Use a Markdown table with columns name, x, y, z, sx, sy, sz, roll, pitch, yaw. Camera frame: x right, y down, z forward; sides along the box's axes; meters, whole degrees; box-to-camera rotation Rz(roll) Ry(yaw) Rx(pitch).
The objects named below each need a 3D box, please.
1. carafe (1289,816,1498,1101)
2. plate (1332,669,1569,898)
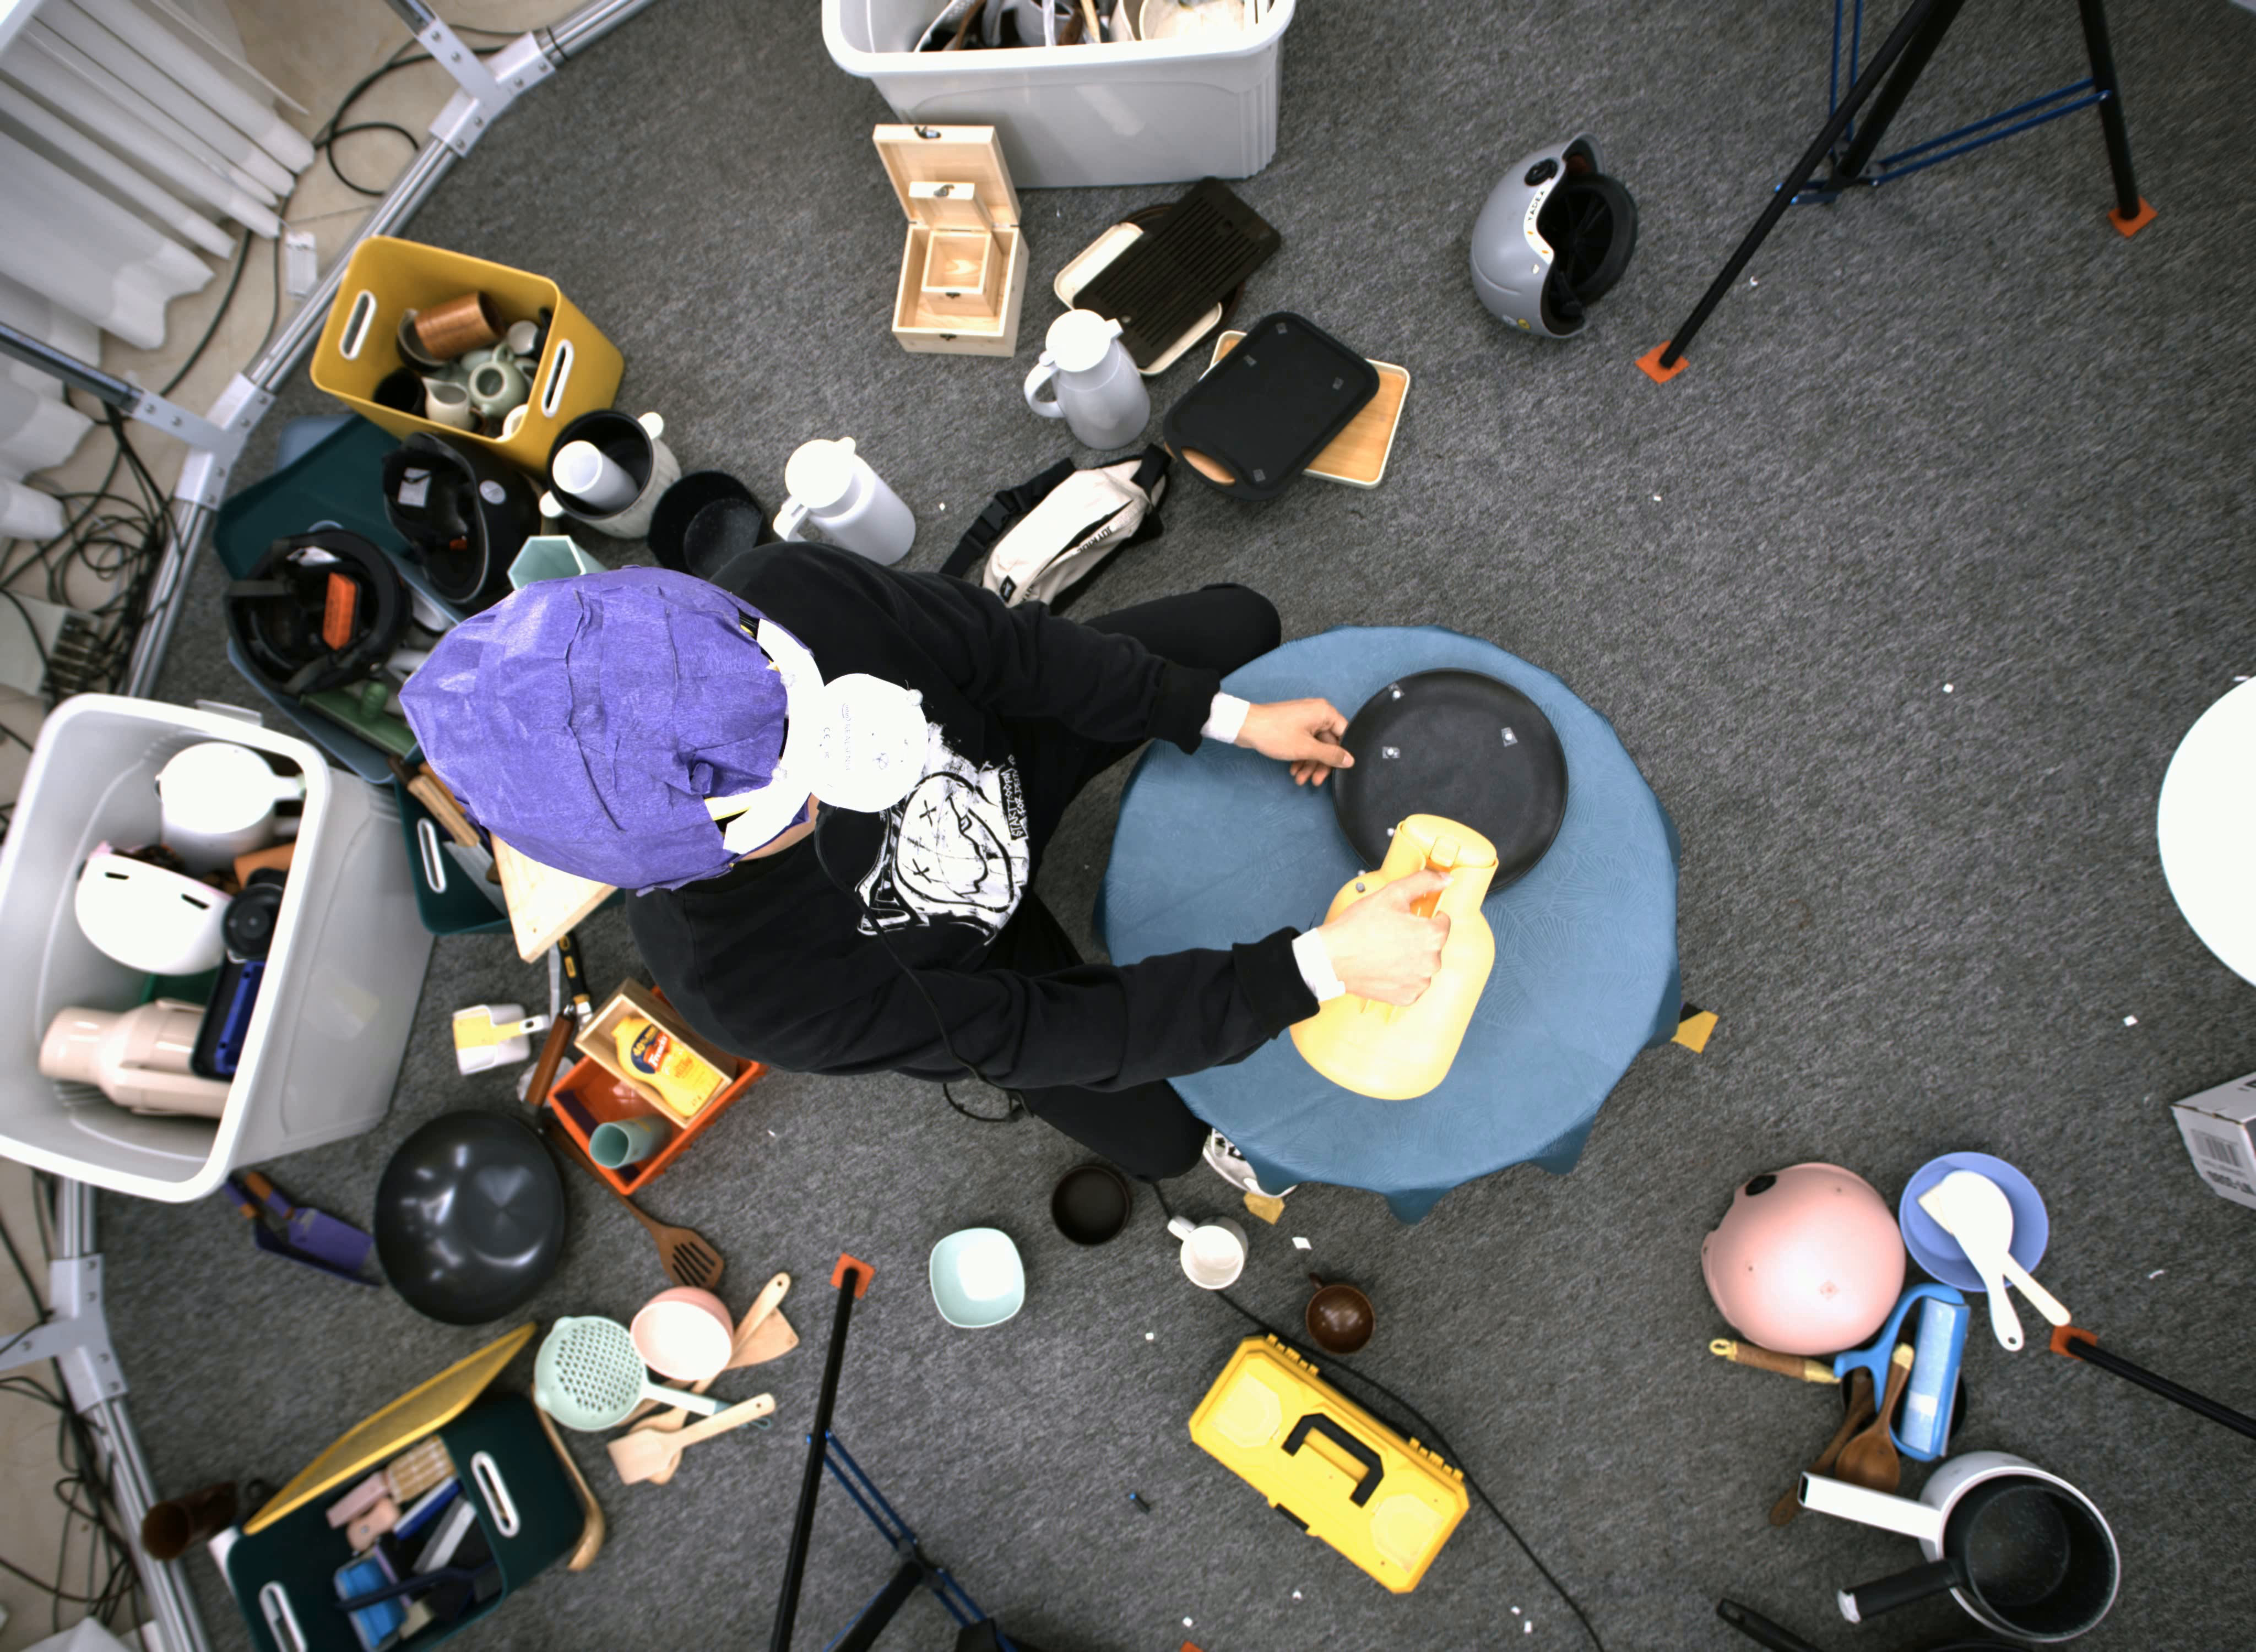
| name | x | y | z | sx | sy | sz | roll | pitch | yaw |
| --- | --- | --- | --- | --- | --- | --- | --- | --- | --- |
| carafe | 0.253 | 0.123 | 1.290 | 0.163 | 0.199 | 0.265 | 23 | 113 | 16 |
| plate | 0.335 | -0.044 | 1.435 | 0.245 | 0.023 | 0.244 | 0 | 89 | 6 |
